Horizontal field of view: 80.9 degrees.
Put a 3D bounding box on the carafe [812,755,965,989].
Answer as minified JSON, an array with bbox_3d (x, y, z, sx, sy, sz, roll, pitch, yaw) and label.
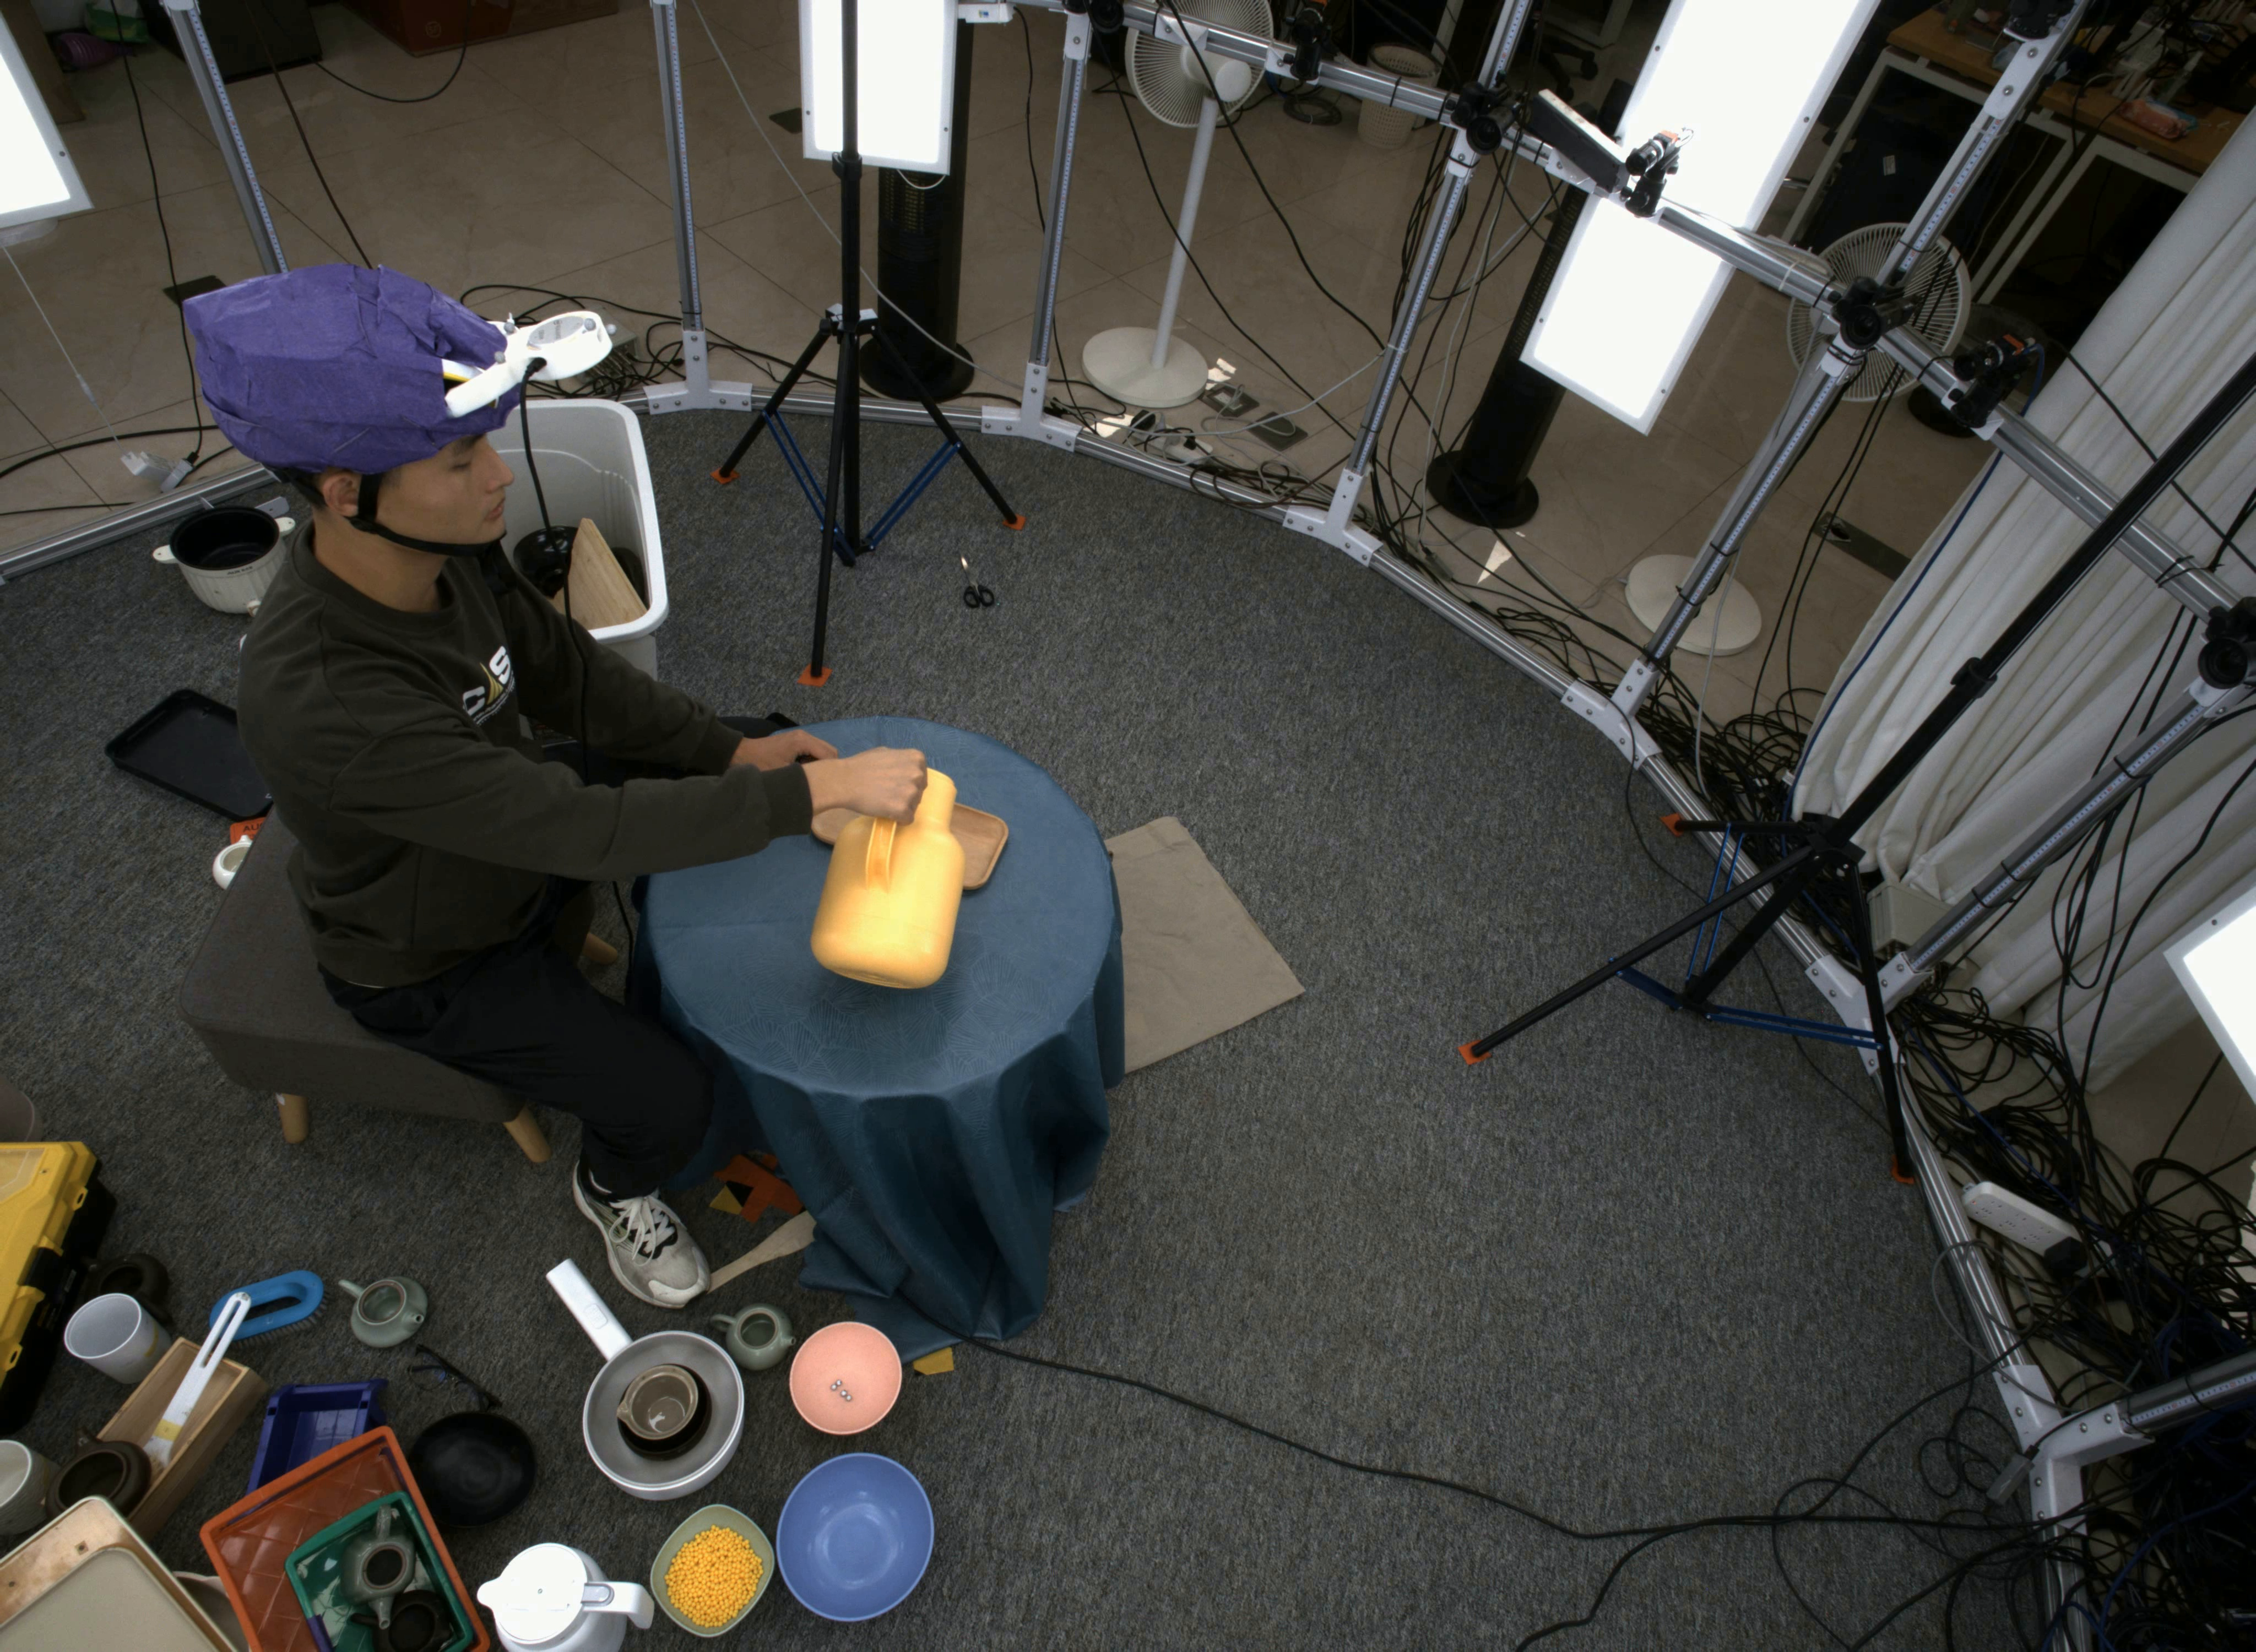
[{"bbox_3d":[-0.280,0.047,1.546,0.161,0.206,0.260,7,73,4],"label":"carafe"}]

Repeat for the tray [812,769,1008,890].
[{"bbox_3d":[-0.293,0.004,1.753,0.248,0.023,0.129,19,49,2],"label":"tray"}]
